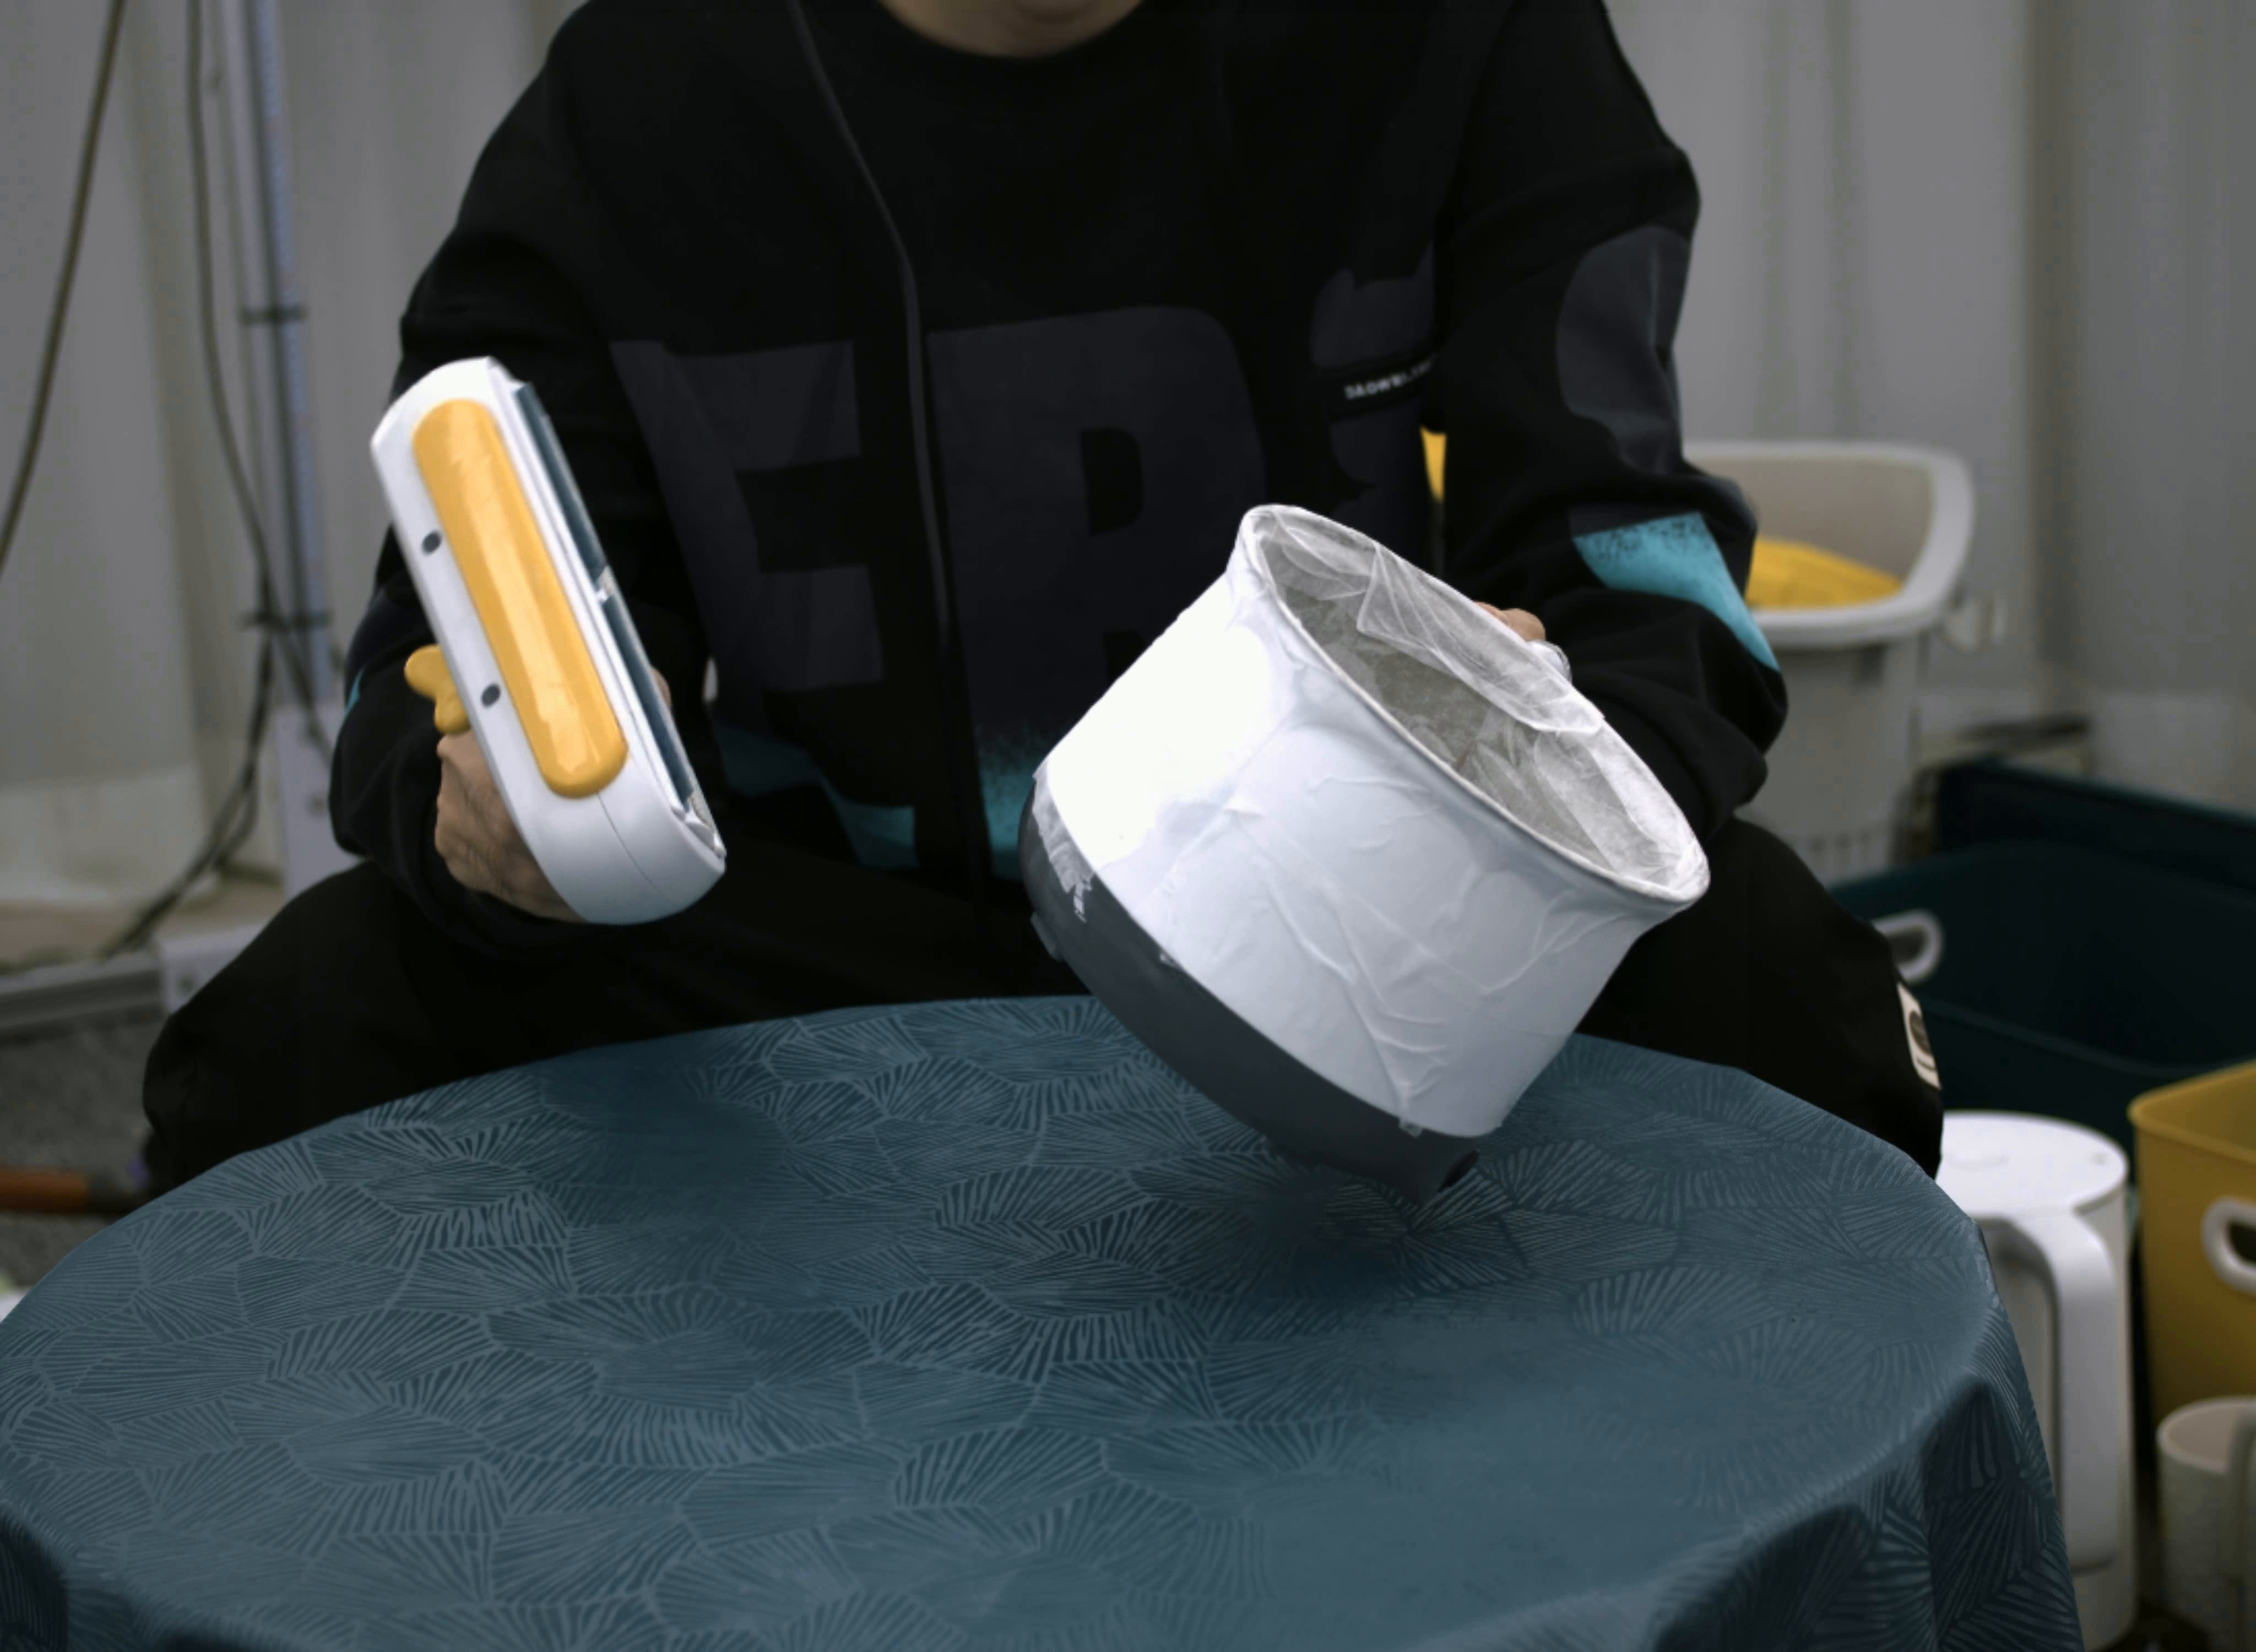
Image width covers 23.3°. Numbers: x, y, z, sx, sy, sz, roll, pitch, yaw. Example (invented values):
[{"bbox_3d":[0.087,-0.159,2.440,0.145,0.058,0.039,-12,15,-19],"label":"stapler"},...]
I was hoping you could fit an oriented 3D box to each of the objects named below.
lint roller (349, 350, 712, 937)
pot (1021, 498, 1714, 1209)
[{"bbox_3d":[-0.178,-0.029,1.720,0.074,0.190,0.195,-28,59,-5],"label":"lint roller"},{"bbox_3d":[0.075,0.004,1.666,0.179,0.136,0.234,43,18,7],"label":"pot"}]
